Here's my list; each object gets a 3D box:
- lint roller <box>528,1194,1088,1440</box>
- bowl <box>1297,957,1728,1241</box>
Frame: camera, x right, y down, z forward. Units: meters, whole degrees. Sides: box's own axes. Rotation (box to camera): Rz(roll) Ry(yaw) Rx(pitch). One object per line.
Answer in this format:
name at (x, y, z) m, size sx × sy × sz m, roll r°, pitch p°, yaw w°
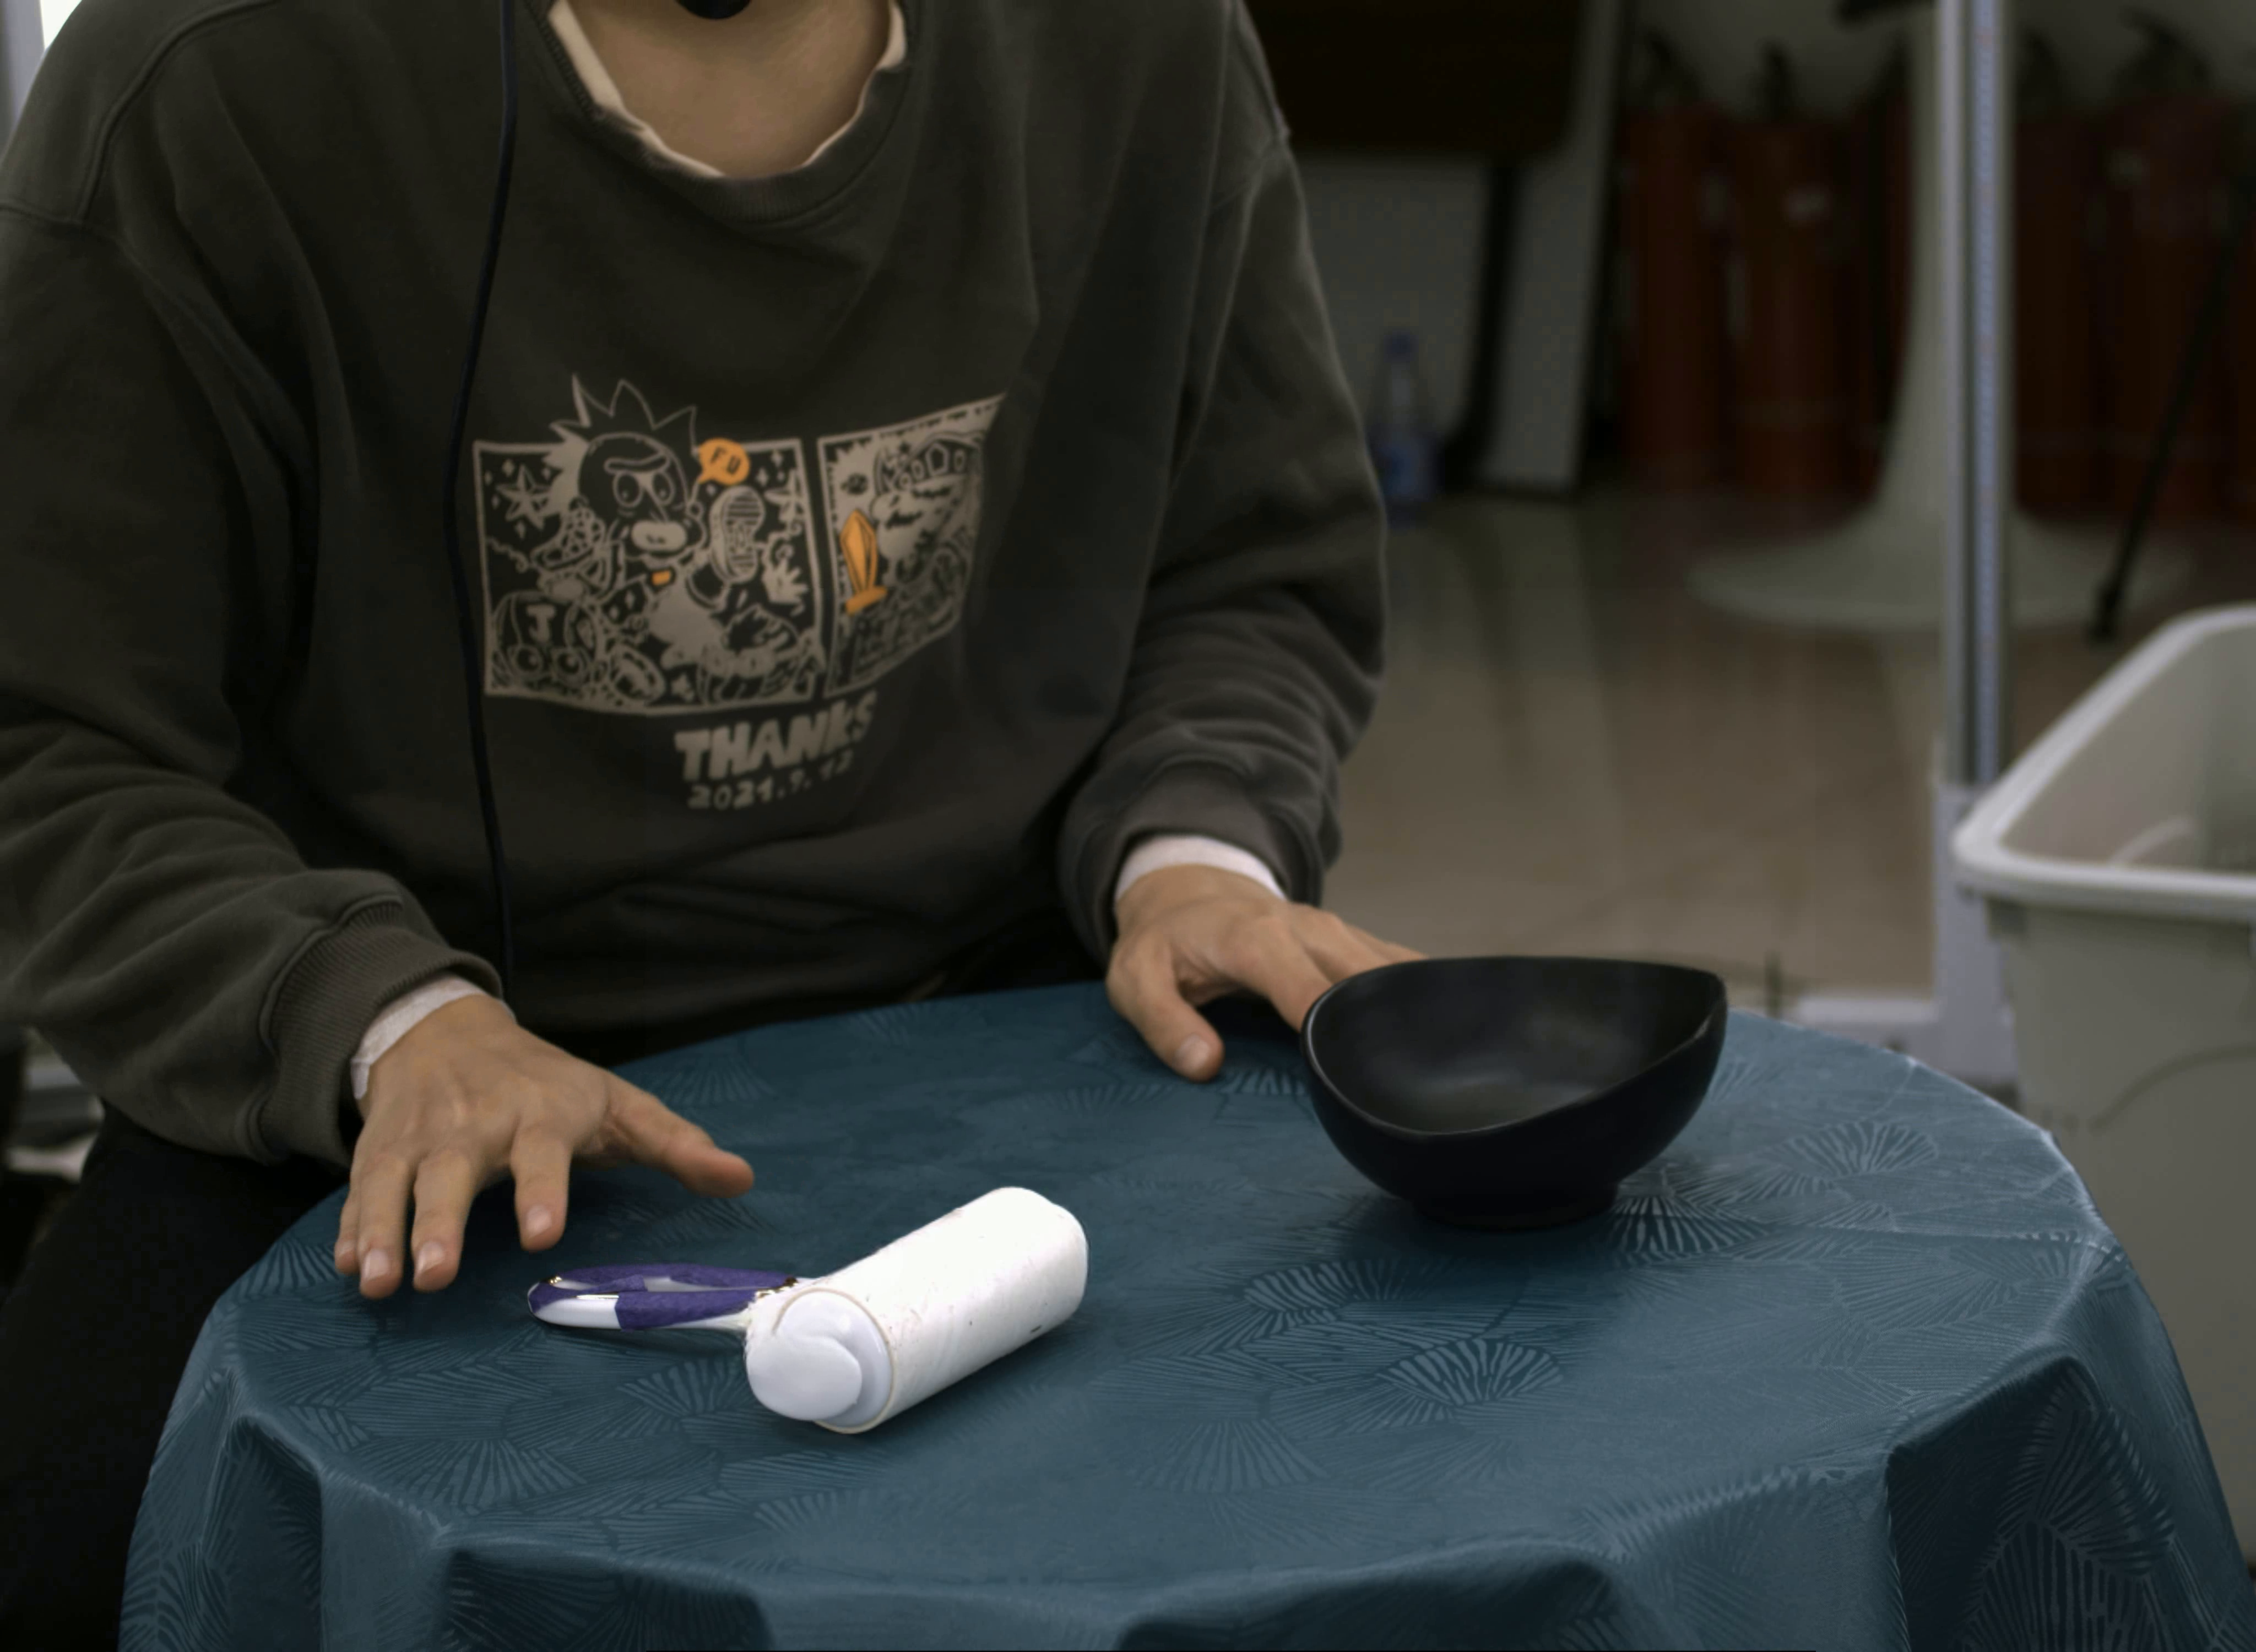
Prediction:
lint roller at (-0.111, 0.137, 1.641) m, size 0.182 × 0.051 × 0.130 m, roll 9°, pitch 19°, yaw 36°
bowl at (0.125, 0.092, 1.730) m, size 0.137 × 0.067 × 0.168 m, roll 0°, pitch 16°, yaw 21°
